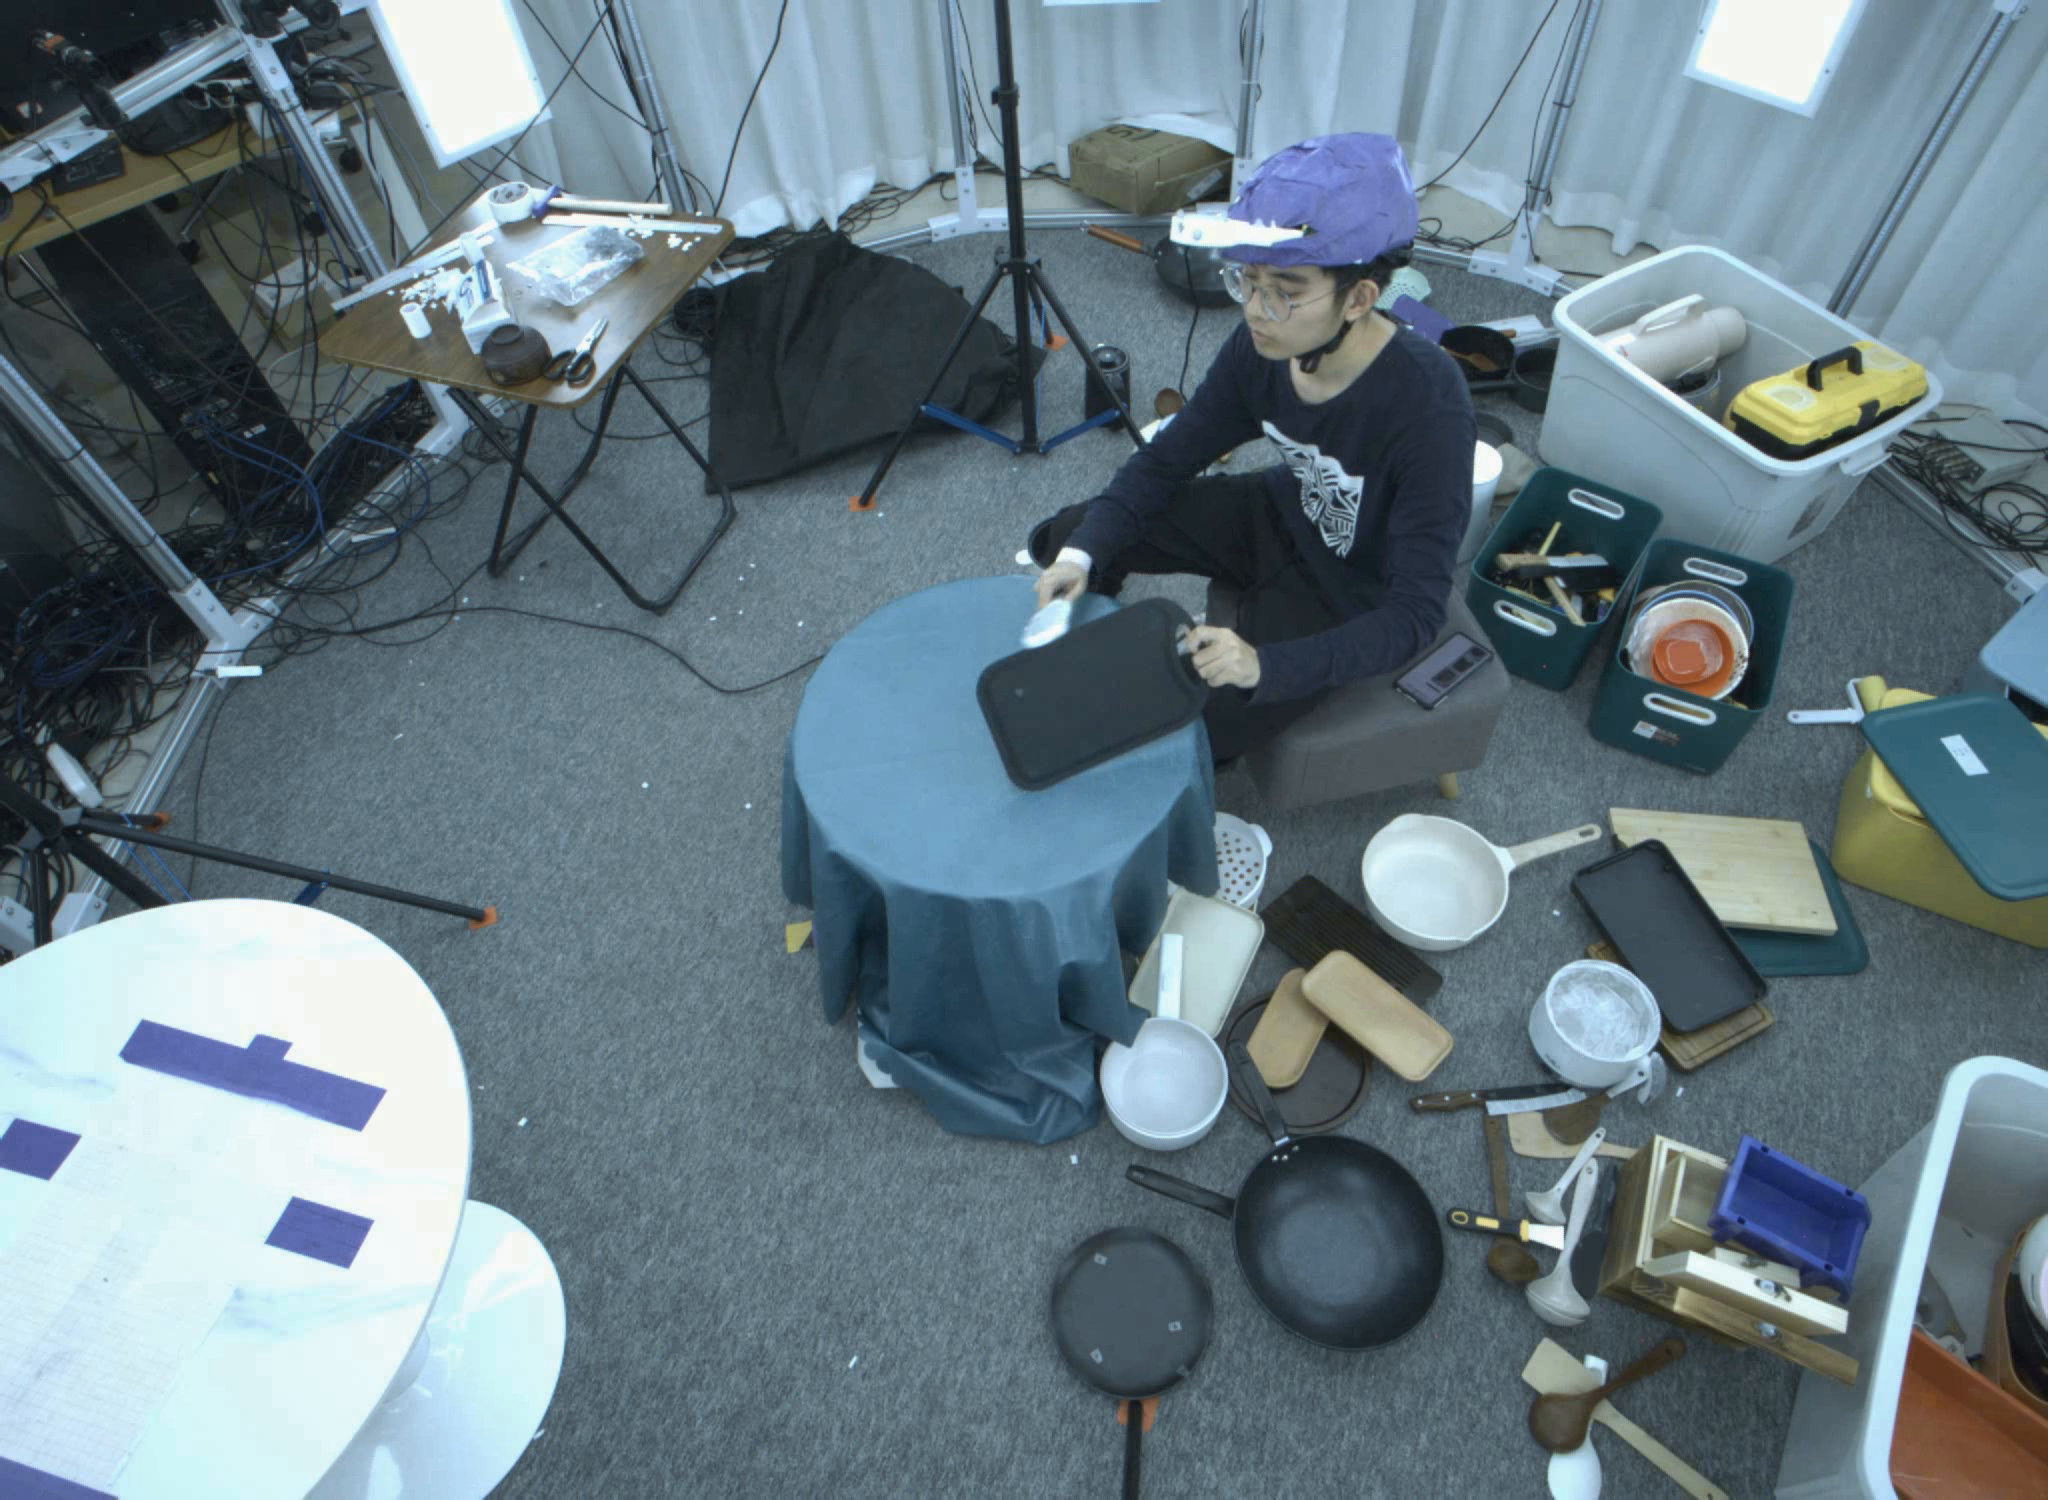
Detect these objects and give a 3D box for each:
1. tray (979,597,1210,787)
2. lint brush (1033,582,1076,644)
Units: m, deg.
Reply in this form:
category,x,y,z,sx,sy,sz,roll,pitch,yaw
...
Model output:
category,x,y,z,sx,sy,sz,roll,pitch,yaw
tray,0.107,-0.082,1.715,0.326,0.214,0.009,-23,30,-6
lint brush,0.049,-0.203,1.764,0.060,0.021,0.307,-27,15,12
